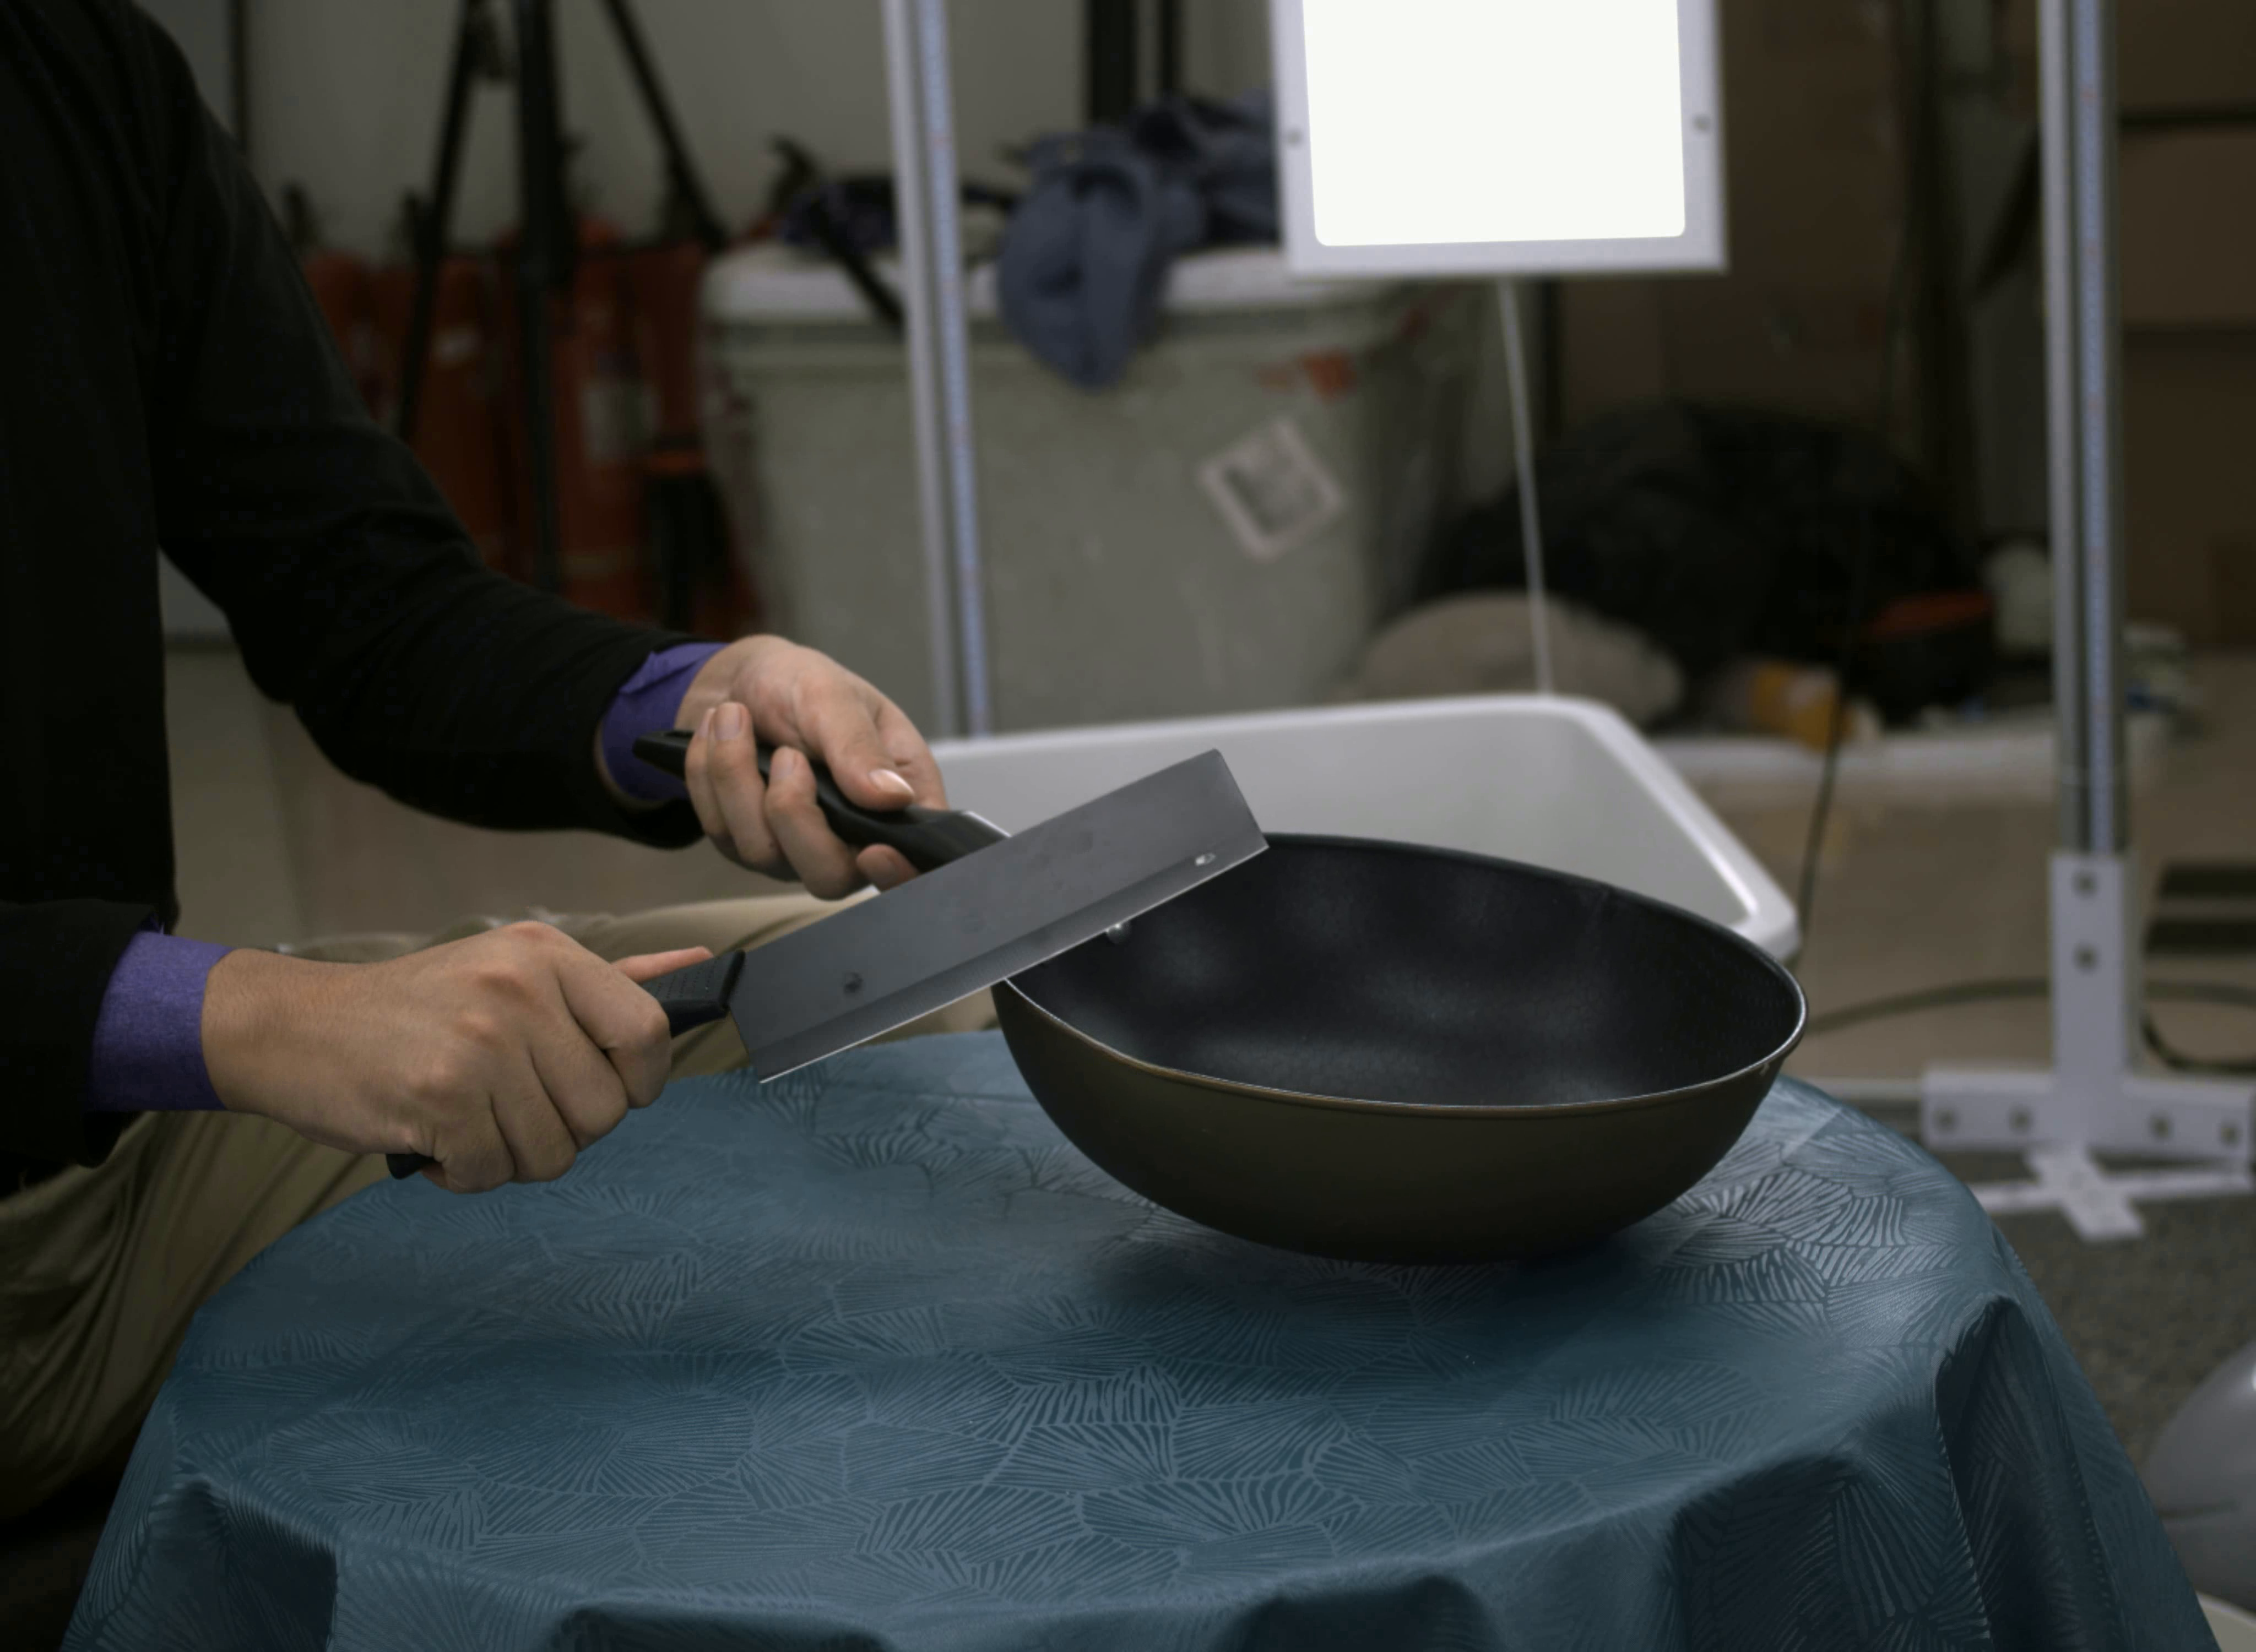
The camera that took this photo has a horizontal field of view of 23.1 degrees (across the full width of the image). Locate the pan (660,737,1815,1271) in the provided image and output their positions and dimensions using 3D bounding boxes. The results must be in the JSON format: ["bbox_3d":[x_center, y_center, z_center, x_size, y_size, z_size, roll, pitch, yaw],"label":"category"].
[{"bbox_3d":[0.012,0.060,1.884,0.472,0.087,0.281,17,21,35],"label":"pan"}]

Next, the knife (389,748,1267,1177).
[{"bbox_3d":[-0.099,0.049,1.785,0.302,0.021,0.081,-21,37,4],"label":"knife"}]
